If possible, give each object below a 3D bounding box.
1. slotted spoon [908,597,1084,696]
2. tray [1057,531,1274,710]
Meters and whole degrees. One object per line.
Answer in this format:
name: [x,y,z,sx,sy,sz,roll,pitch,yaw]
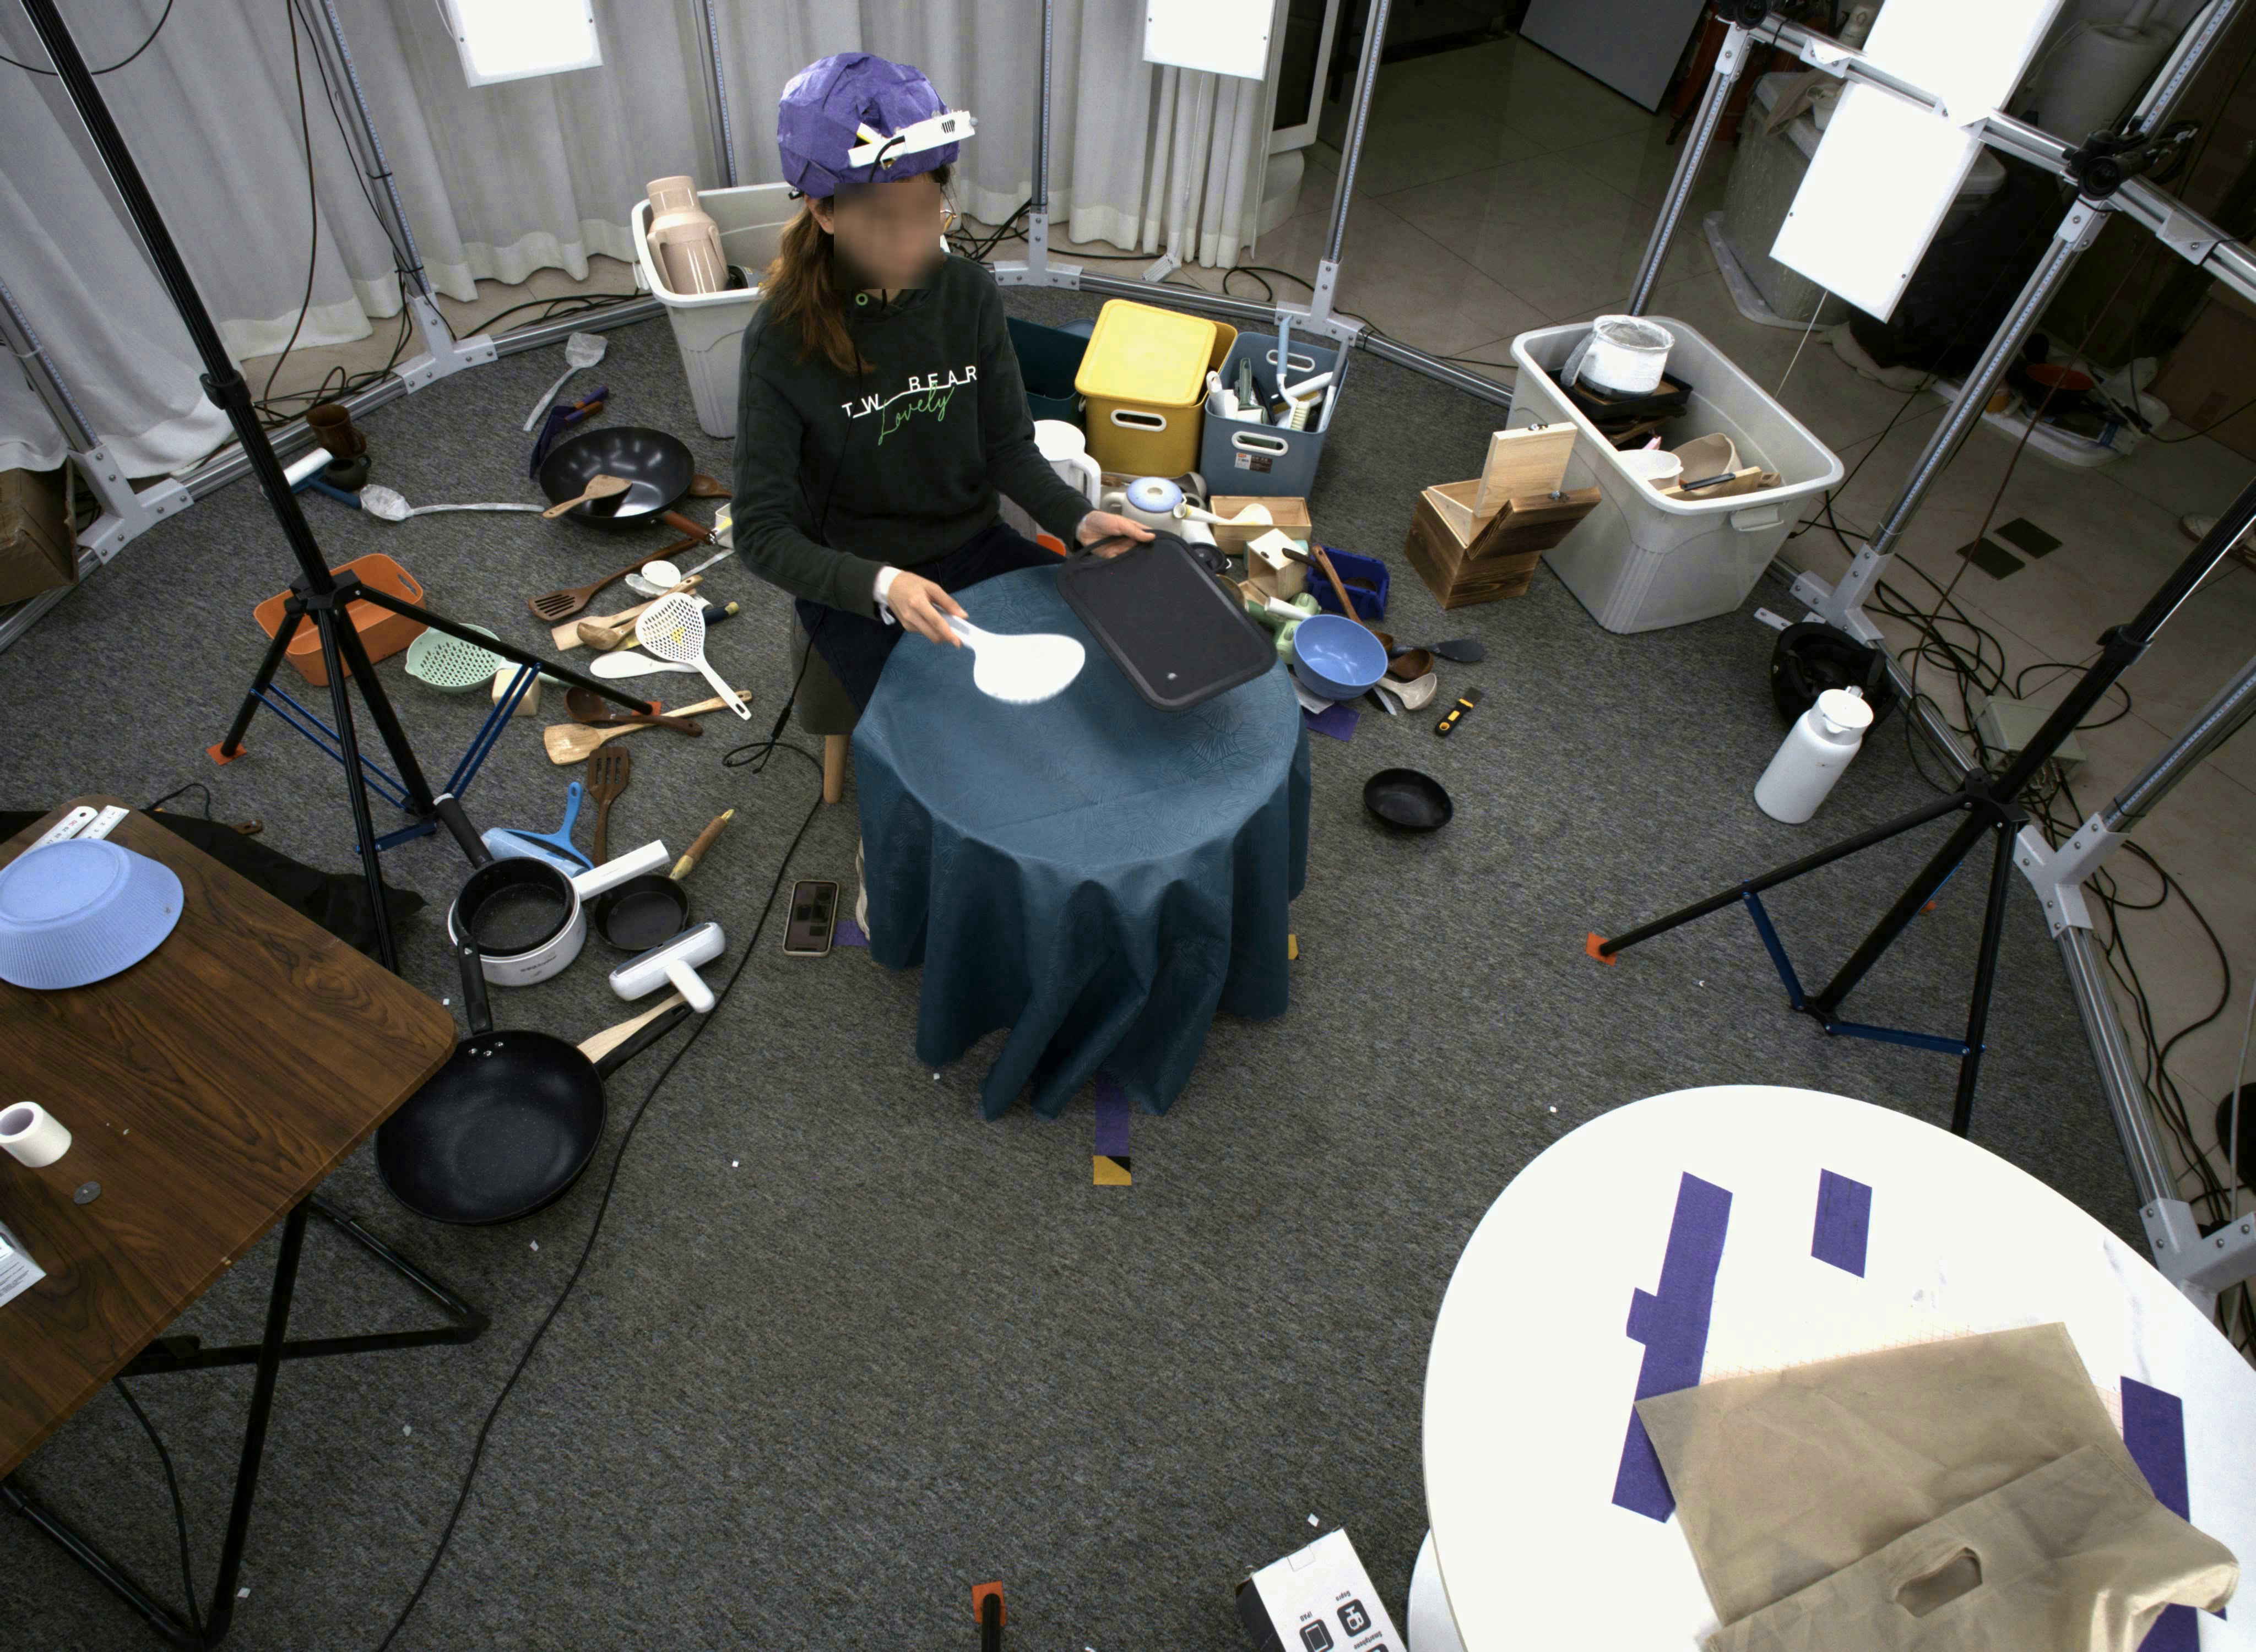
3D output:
slotted spoon: [-0.184,-0.238,1.637,0.137,0.044,0.356,-30,43,-25]
tray: [0.045,-0.298,1.790,0.212,0.009,0.332,-24,58,-19]
